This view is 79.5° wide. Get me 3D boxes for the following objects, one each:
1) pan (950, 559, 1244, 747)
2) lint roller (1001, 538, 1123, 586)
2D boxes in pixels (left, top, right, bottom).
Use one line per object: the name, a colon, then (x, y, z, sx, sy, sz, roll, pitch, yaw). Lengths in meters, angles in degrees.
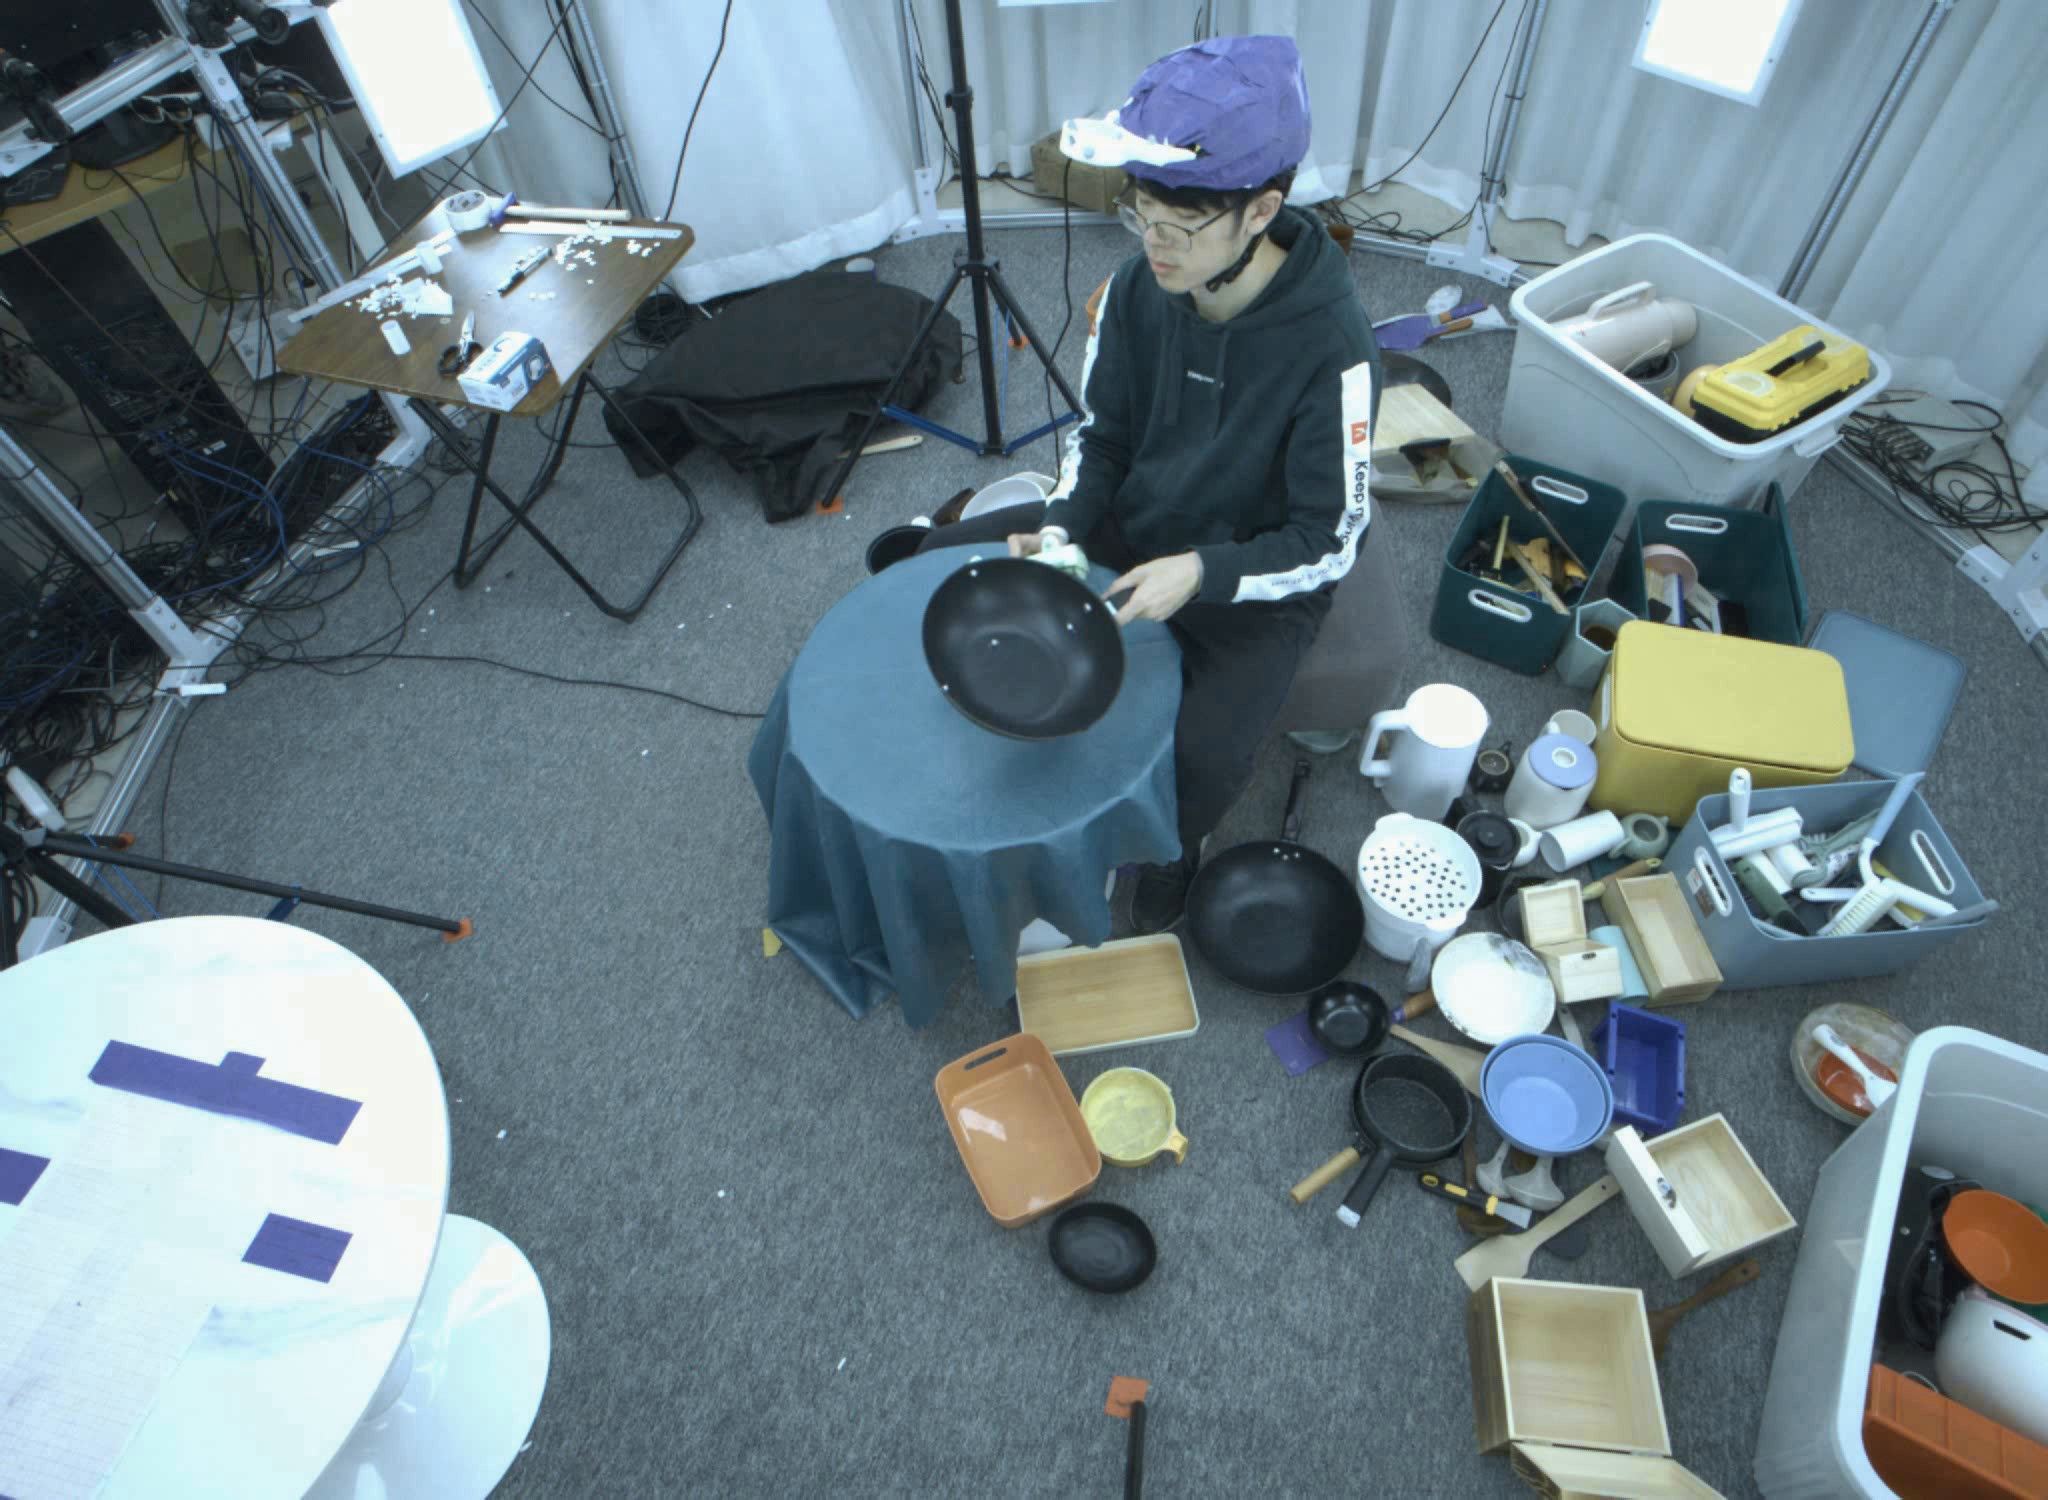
pan: (0.107, -0.152, 1.681, 0.469, 0.086, 0.285, -26, 75, -26)
lint roller: (0.052, -0.270, 1.799, 0.196, 0.083, 0.183, -12, 22, 20)
